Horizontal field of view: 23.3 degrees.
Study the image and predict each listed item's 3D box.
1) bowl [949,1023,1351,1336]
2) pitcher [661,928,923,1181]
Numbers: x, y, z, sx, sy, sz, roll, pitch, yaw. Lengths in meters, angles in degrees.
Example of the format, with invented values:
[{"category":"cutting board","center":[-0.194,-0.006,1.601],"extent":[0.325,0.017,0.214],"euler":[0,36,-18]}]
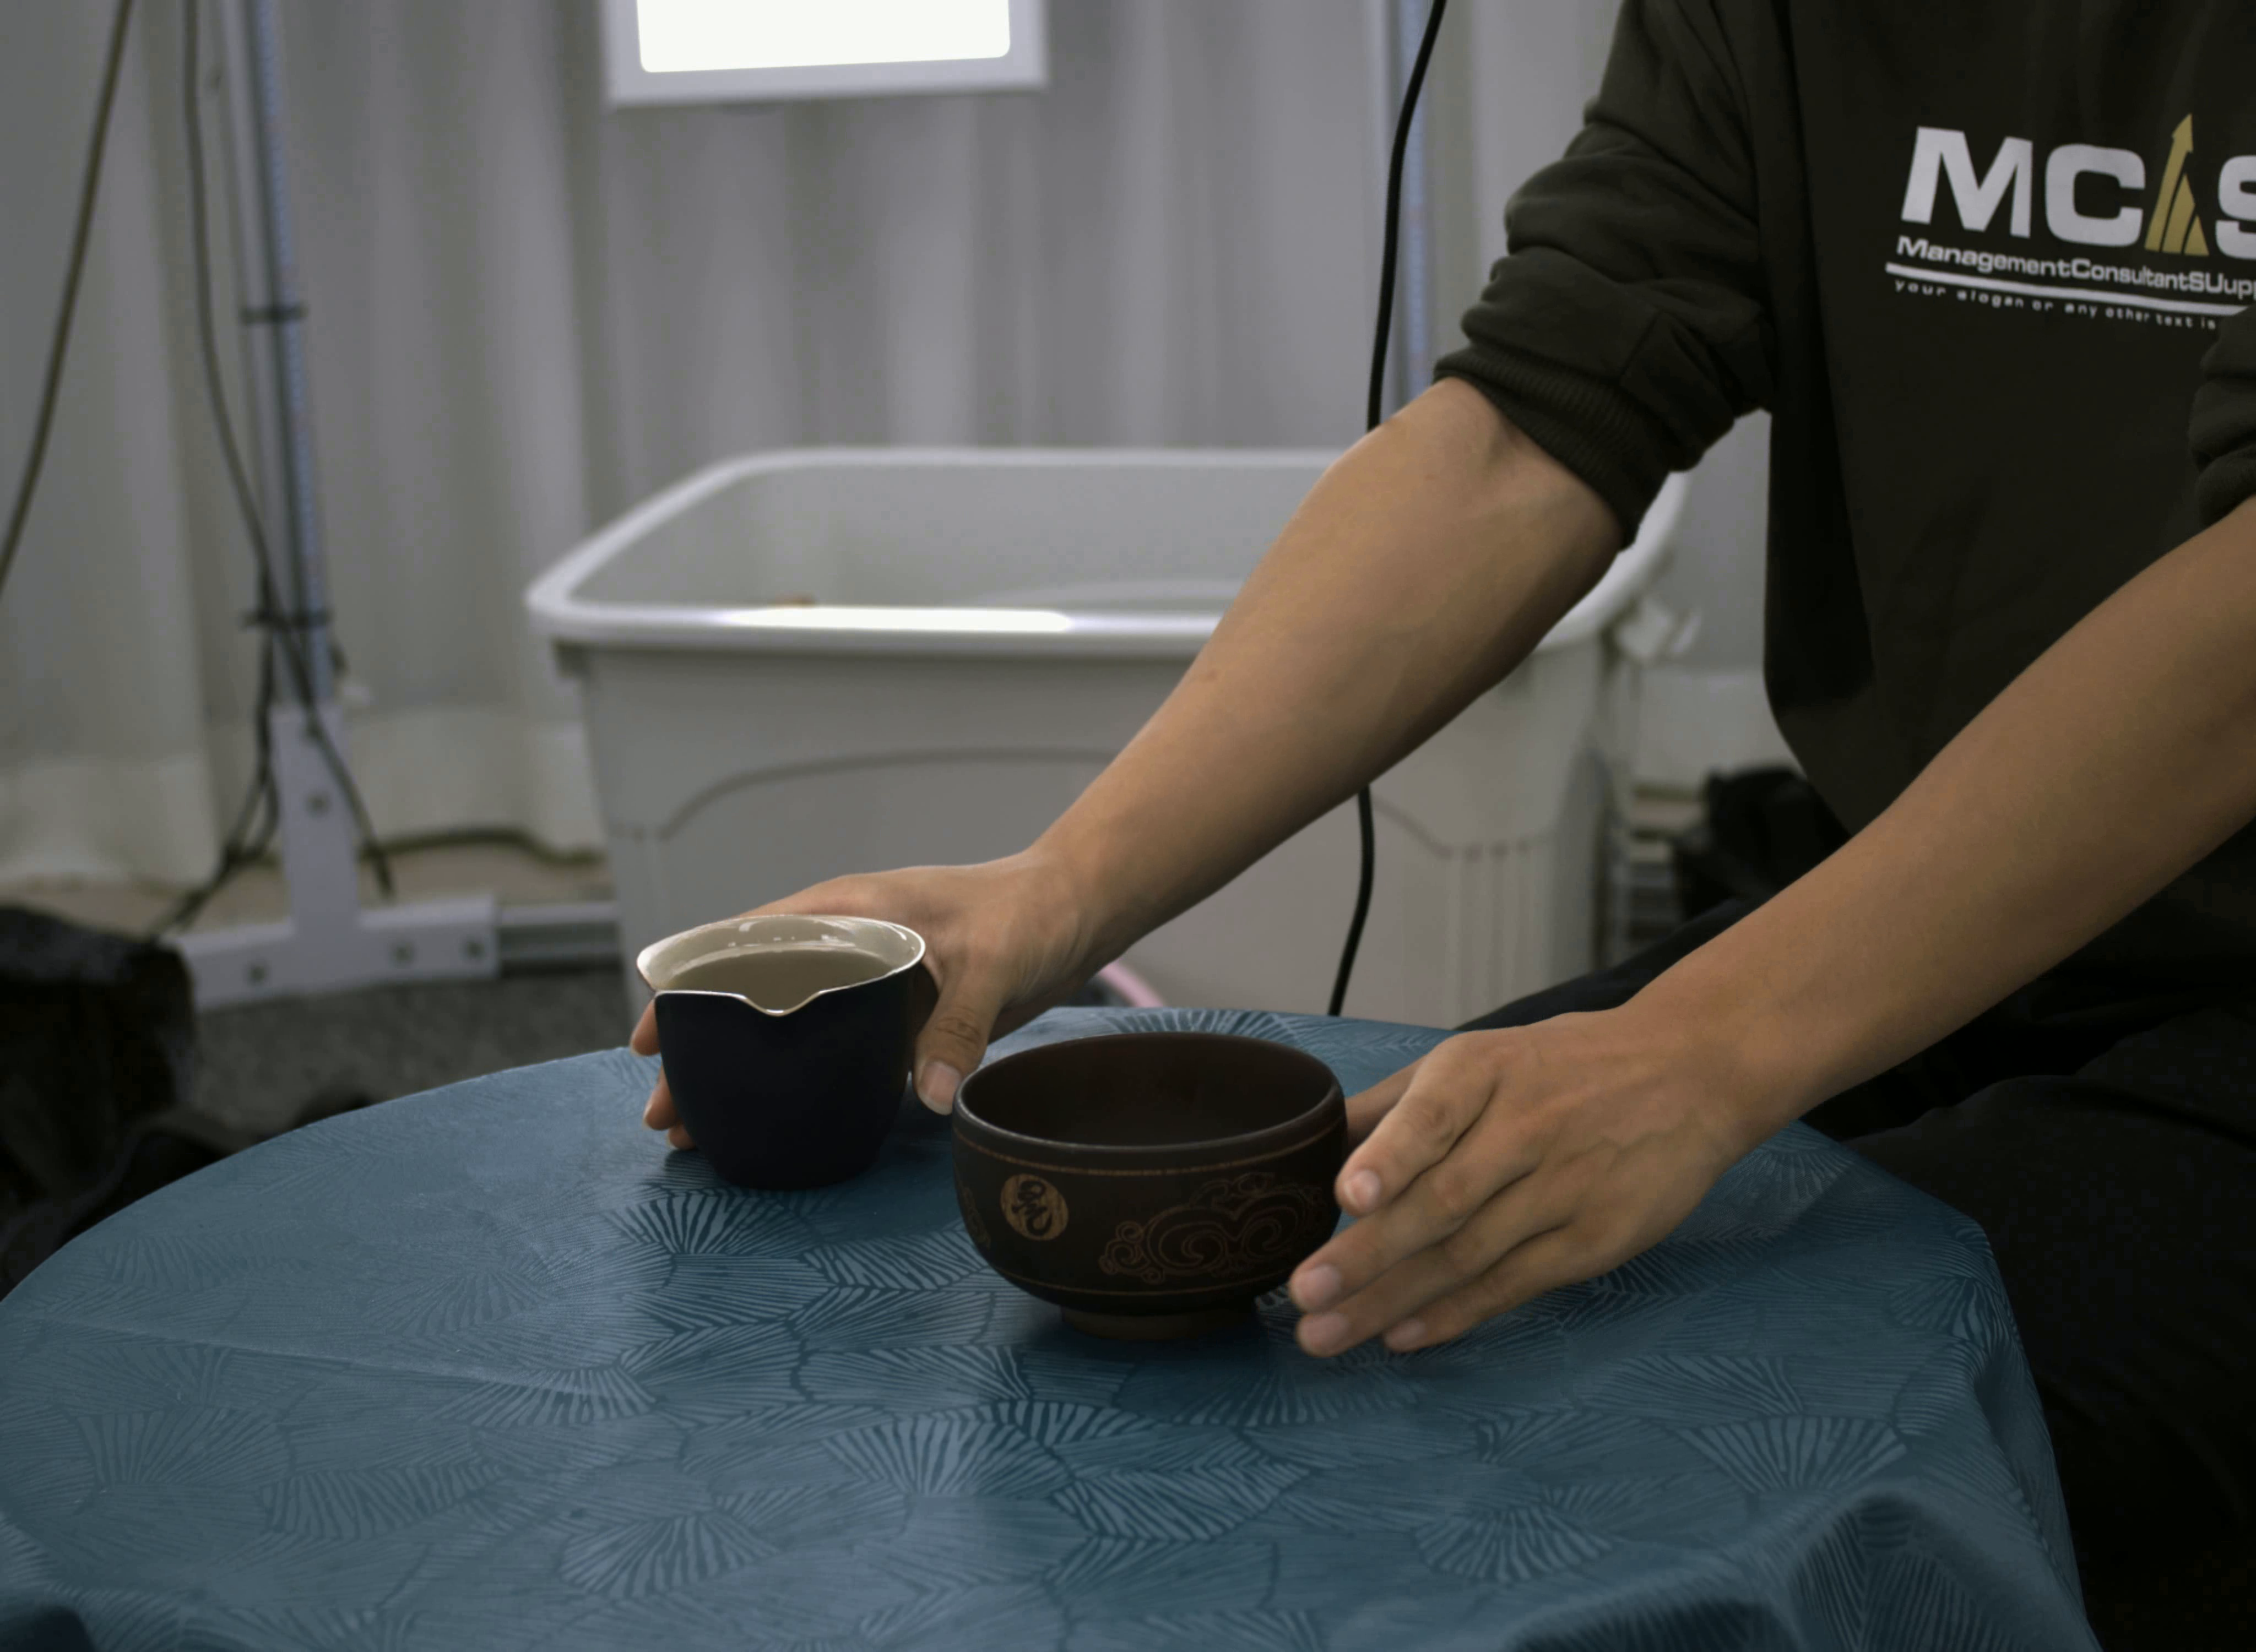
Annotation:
[{"category":"bowl","center":[0.008,0.108,1.604],"extent":[0.117,0.069,0.119],"euler":[-4,15,1]},{"category":"pitcher","center":[-0.107,0.074,1.745],"extent":[0.083,0.071,0.096],"euler":[0,14,4]}]
